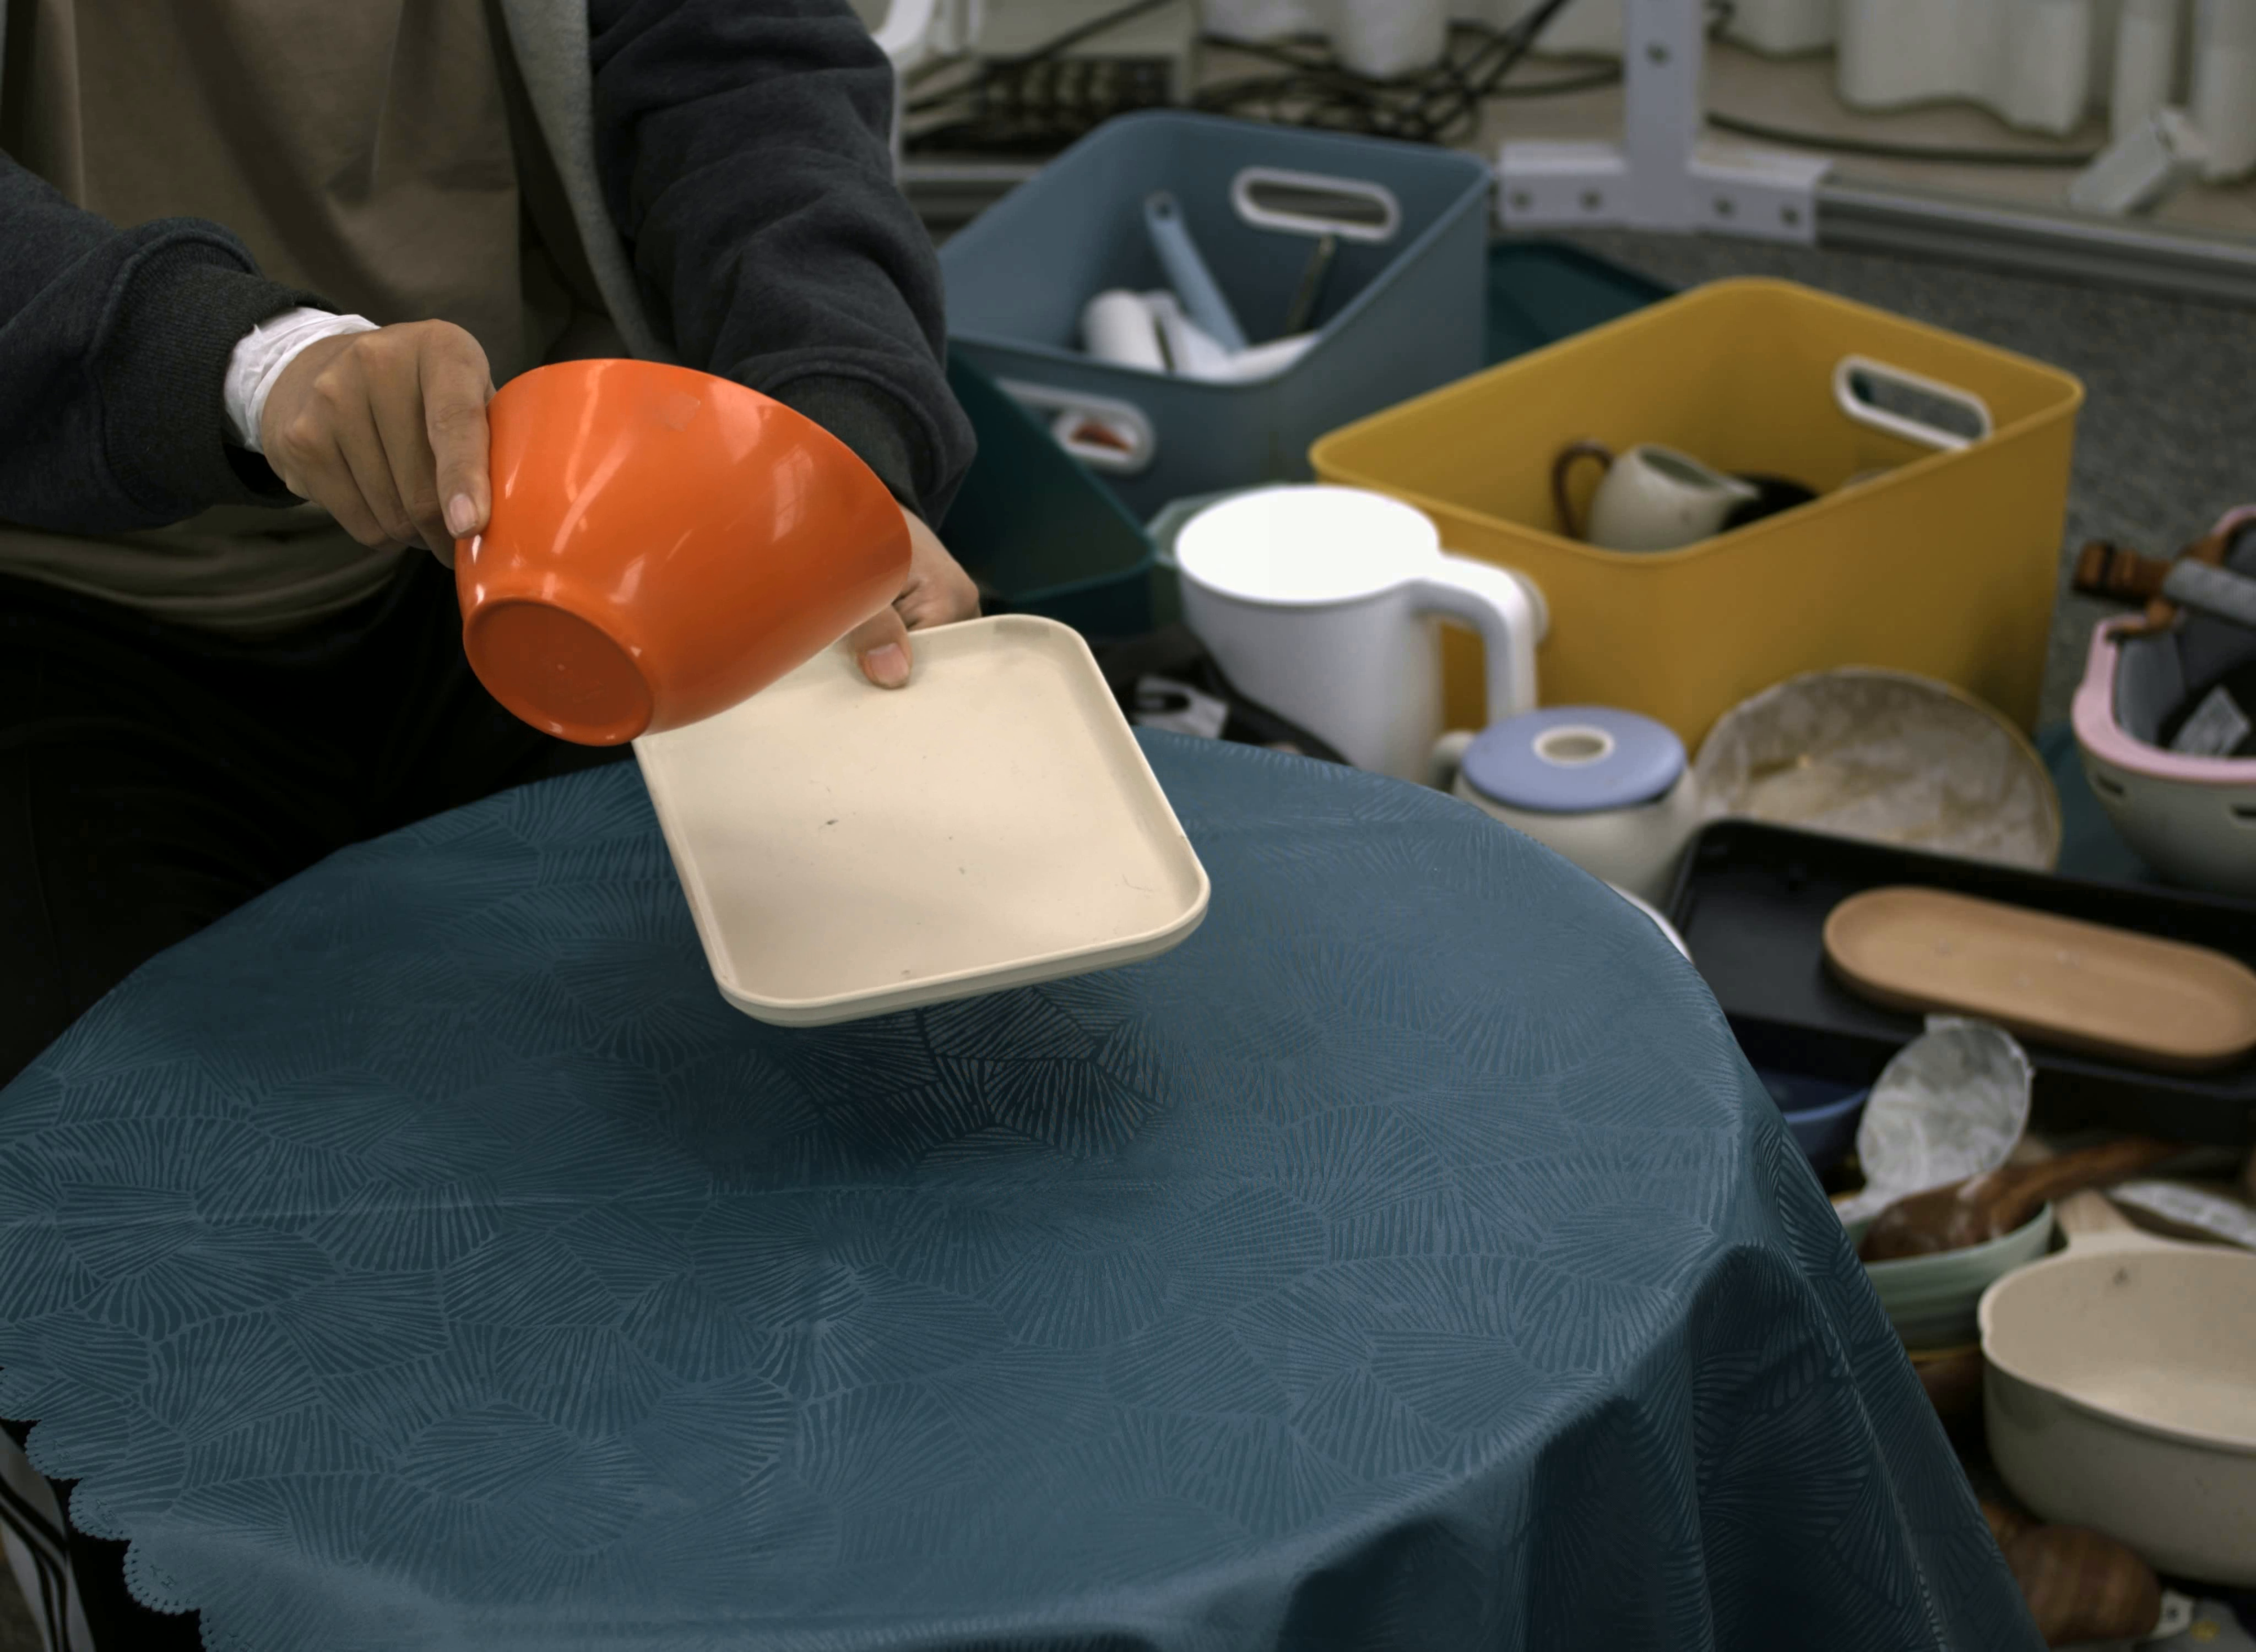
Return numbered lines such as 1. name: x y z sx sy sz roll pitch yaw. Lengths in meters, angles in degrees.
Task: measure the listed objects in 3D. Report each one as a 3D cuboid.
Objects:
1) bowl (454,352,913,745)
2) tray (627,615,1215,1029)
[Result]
1. bowl: -0.156 -0.078 1.825 0.147 0.146 0.107 9 49 22
2. tray: -0.074 -0.003 1.946 0.171 0.017 0.242 -11 30 -10
